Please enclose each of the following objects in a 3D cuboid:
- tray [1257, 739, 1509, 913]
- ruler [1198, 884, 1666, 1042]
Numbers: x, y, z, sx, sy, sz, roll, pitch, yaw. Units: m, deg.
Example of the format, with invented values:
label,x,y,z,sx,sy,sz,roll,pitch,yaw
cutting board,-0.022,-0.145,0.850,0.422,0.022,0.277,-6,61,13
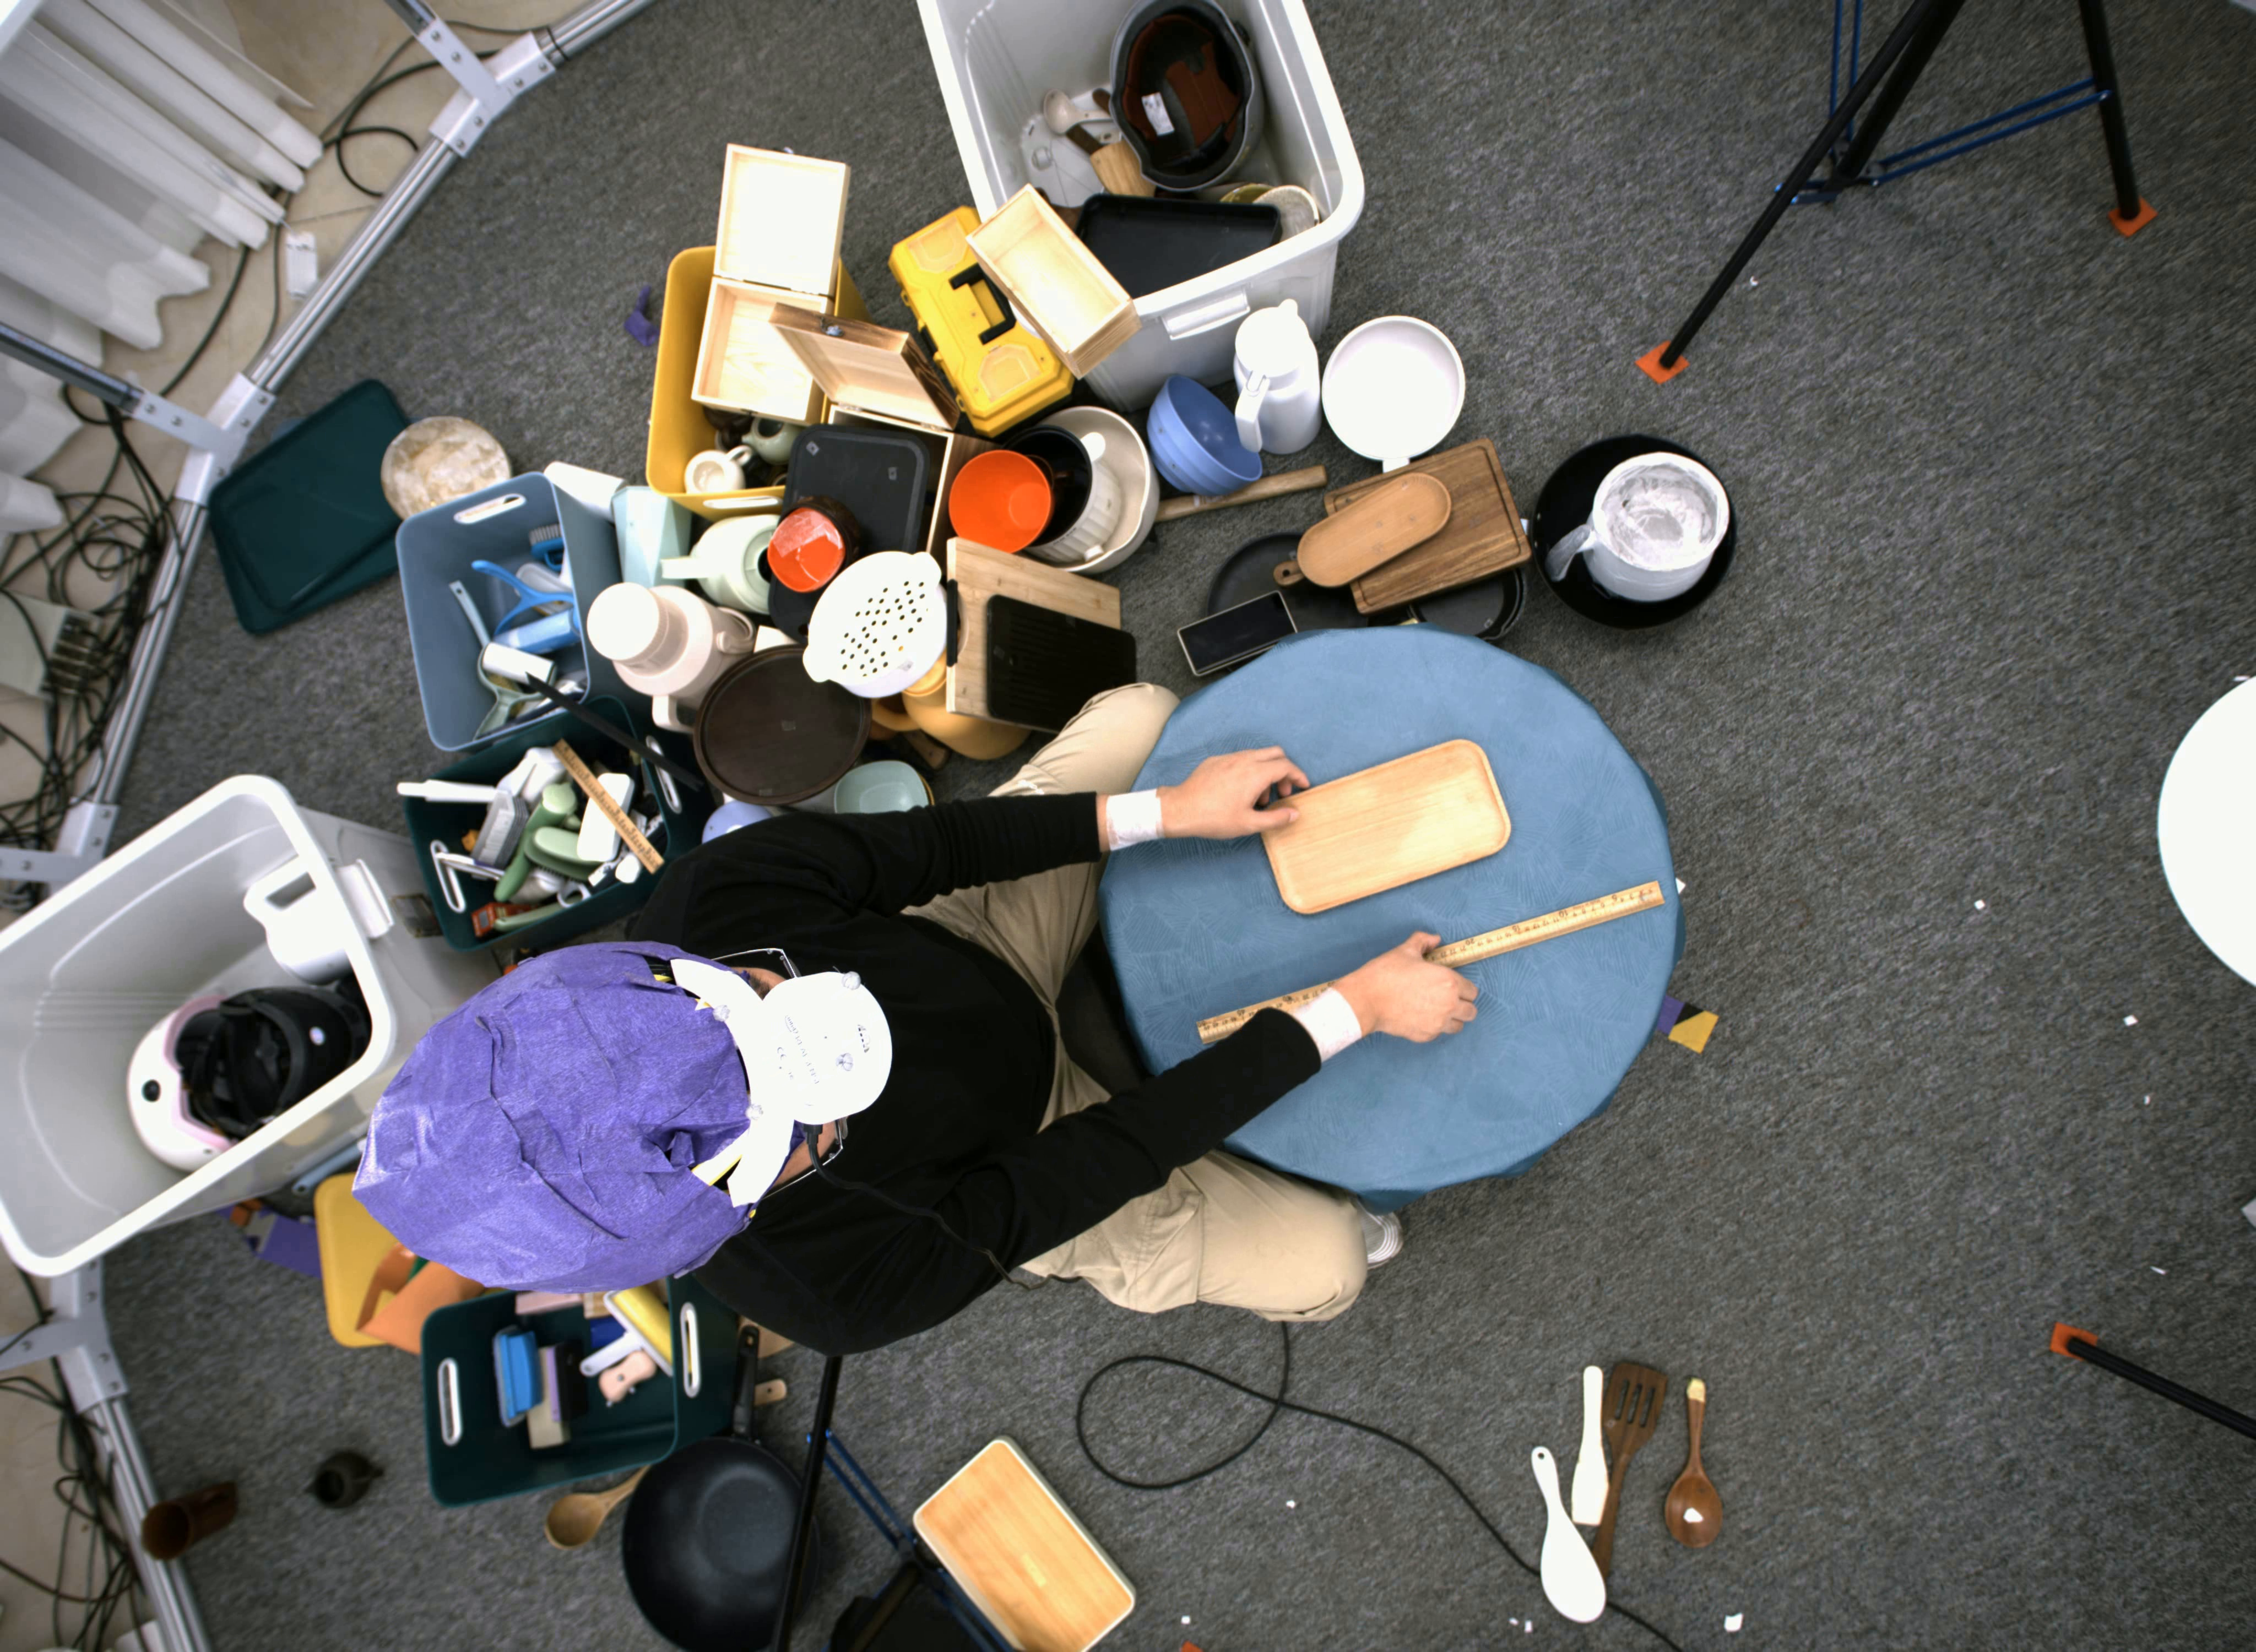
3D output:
label,x,y,z,sx,sy,sz,roll,pitch,yaw
tray,0.268,0.000,1.456,0.252,0.023,0.129,-18,82,10
ruler,0.312,0.142,1.446,0.503,0.006,0.026,-18,81,9
